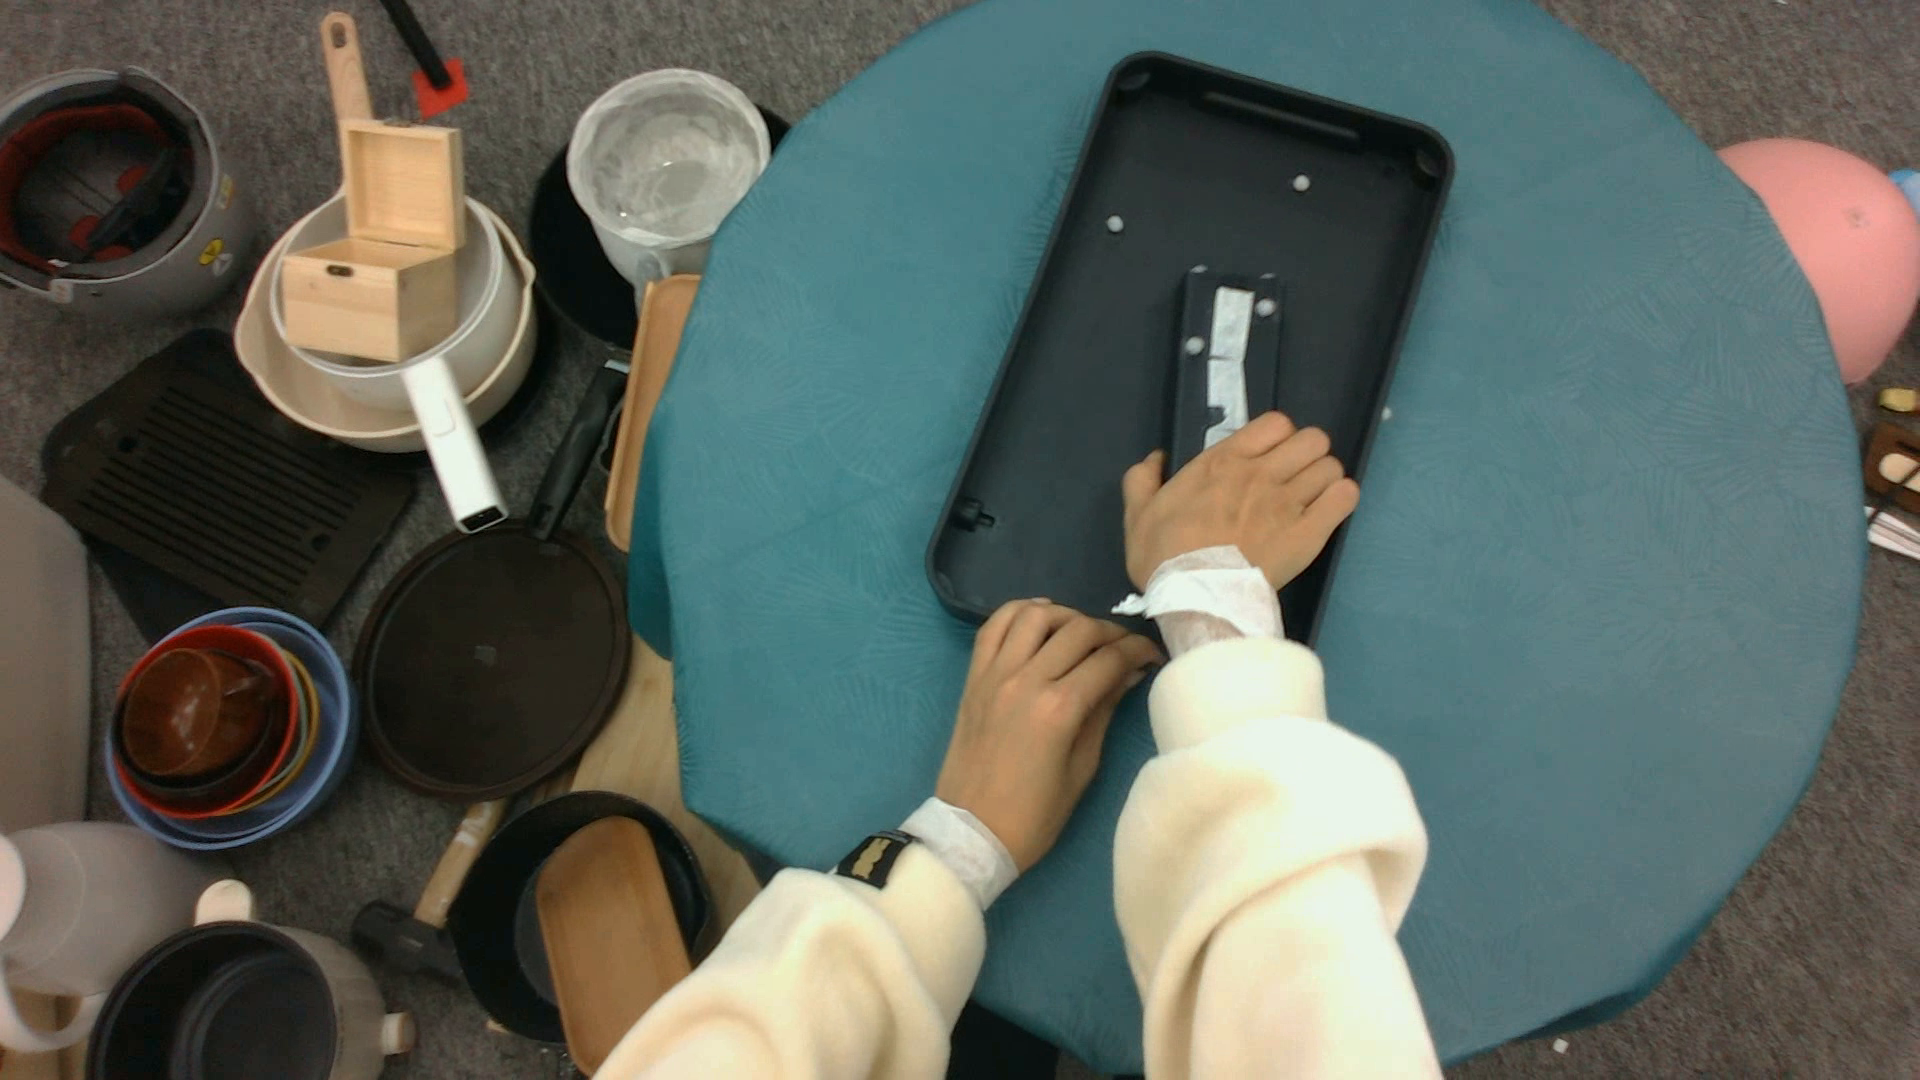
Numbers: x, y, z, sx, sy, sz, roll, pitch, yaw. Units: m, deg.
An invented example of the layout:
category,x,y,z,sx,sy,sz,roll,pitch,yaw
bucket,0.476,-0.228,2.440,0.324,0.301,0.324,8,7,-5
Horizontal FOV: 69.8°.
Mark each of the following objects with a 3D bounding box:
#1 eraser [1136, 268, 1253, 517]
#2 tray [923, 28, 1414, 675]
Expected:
category,x,y,z,sx,sy,sz,roll,pitch,yaw
eraser,0.115,-0.074,0.679,0.053,0.030,0.126,3,73,5
tray,0.108,-0.102,0.687,0.184,0.037,0.319,15,72,4
